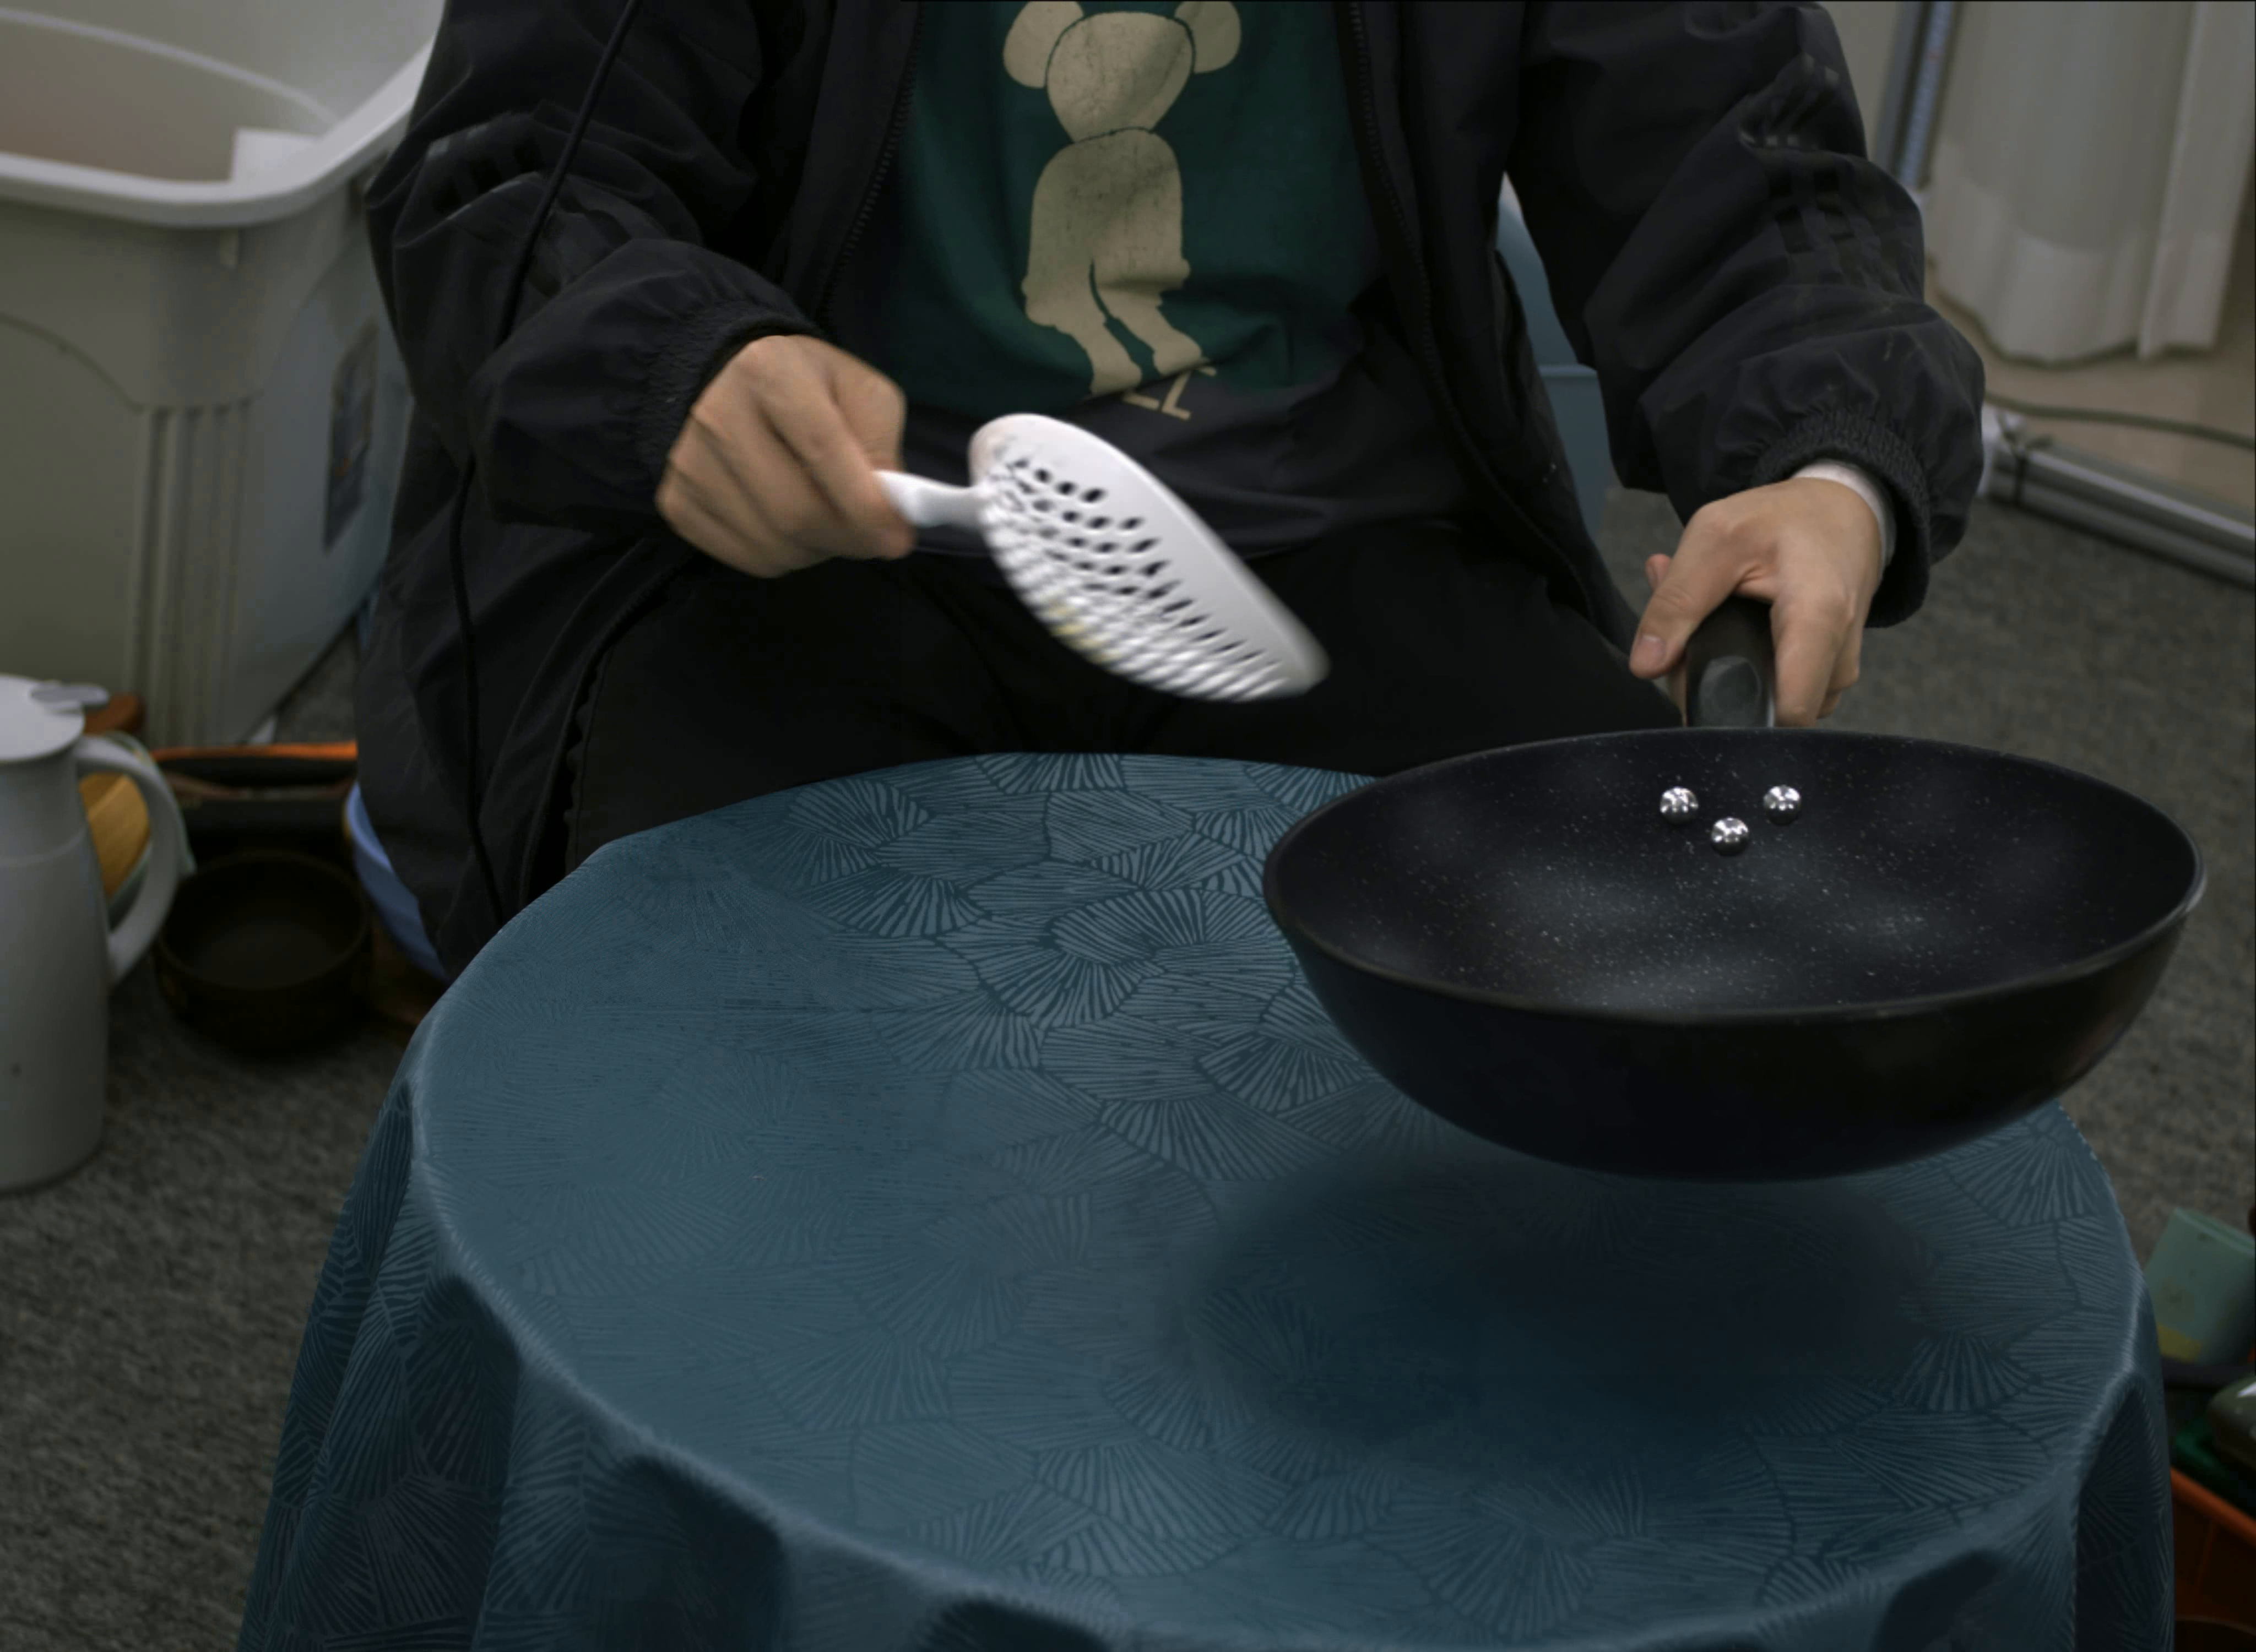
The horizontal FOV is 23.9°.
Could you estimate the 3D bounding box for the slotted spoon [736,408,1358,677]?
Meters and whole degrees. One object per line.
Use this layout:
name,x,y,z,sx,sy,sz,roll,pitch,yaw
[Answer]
slotted spoon,-0.045,-0.101,1.855,0.135,0.050,0.350,40,-9,-28

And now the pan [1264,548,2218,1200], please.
pan,0.208,0.017,1.827,0.310,0.111,0.478,1,18,6
